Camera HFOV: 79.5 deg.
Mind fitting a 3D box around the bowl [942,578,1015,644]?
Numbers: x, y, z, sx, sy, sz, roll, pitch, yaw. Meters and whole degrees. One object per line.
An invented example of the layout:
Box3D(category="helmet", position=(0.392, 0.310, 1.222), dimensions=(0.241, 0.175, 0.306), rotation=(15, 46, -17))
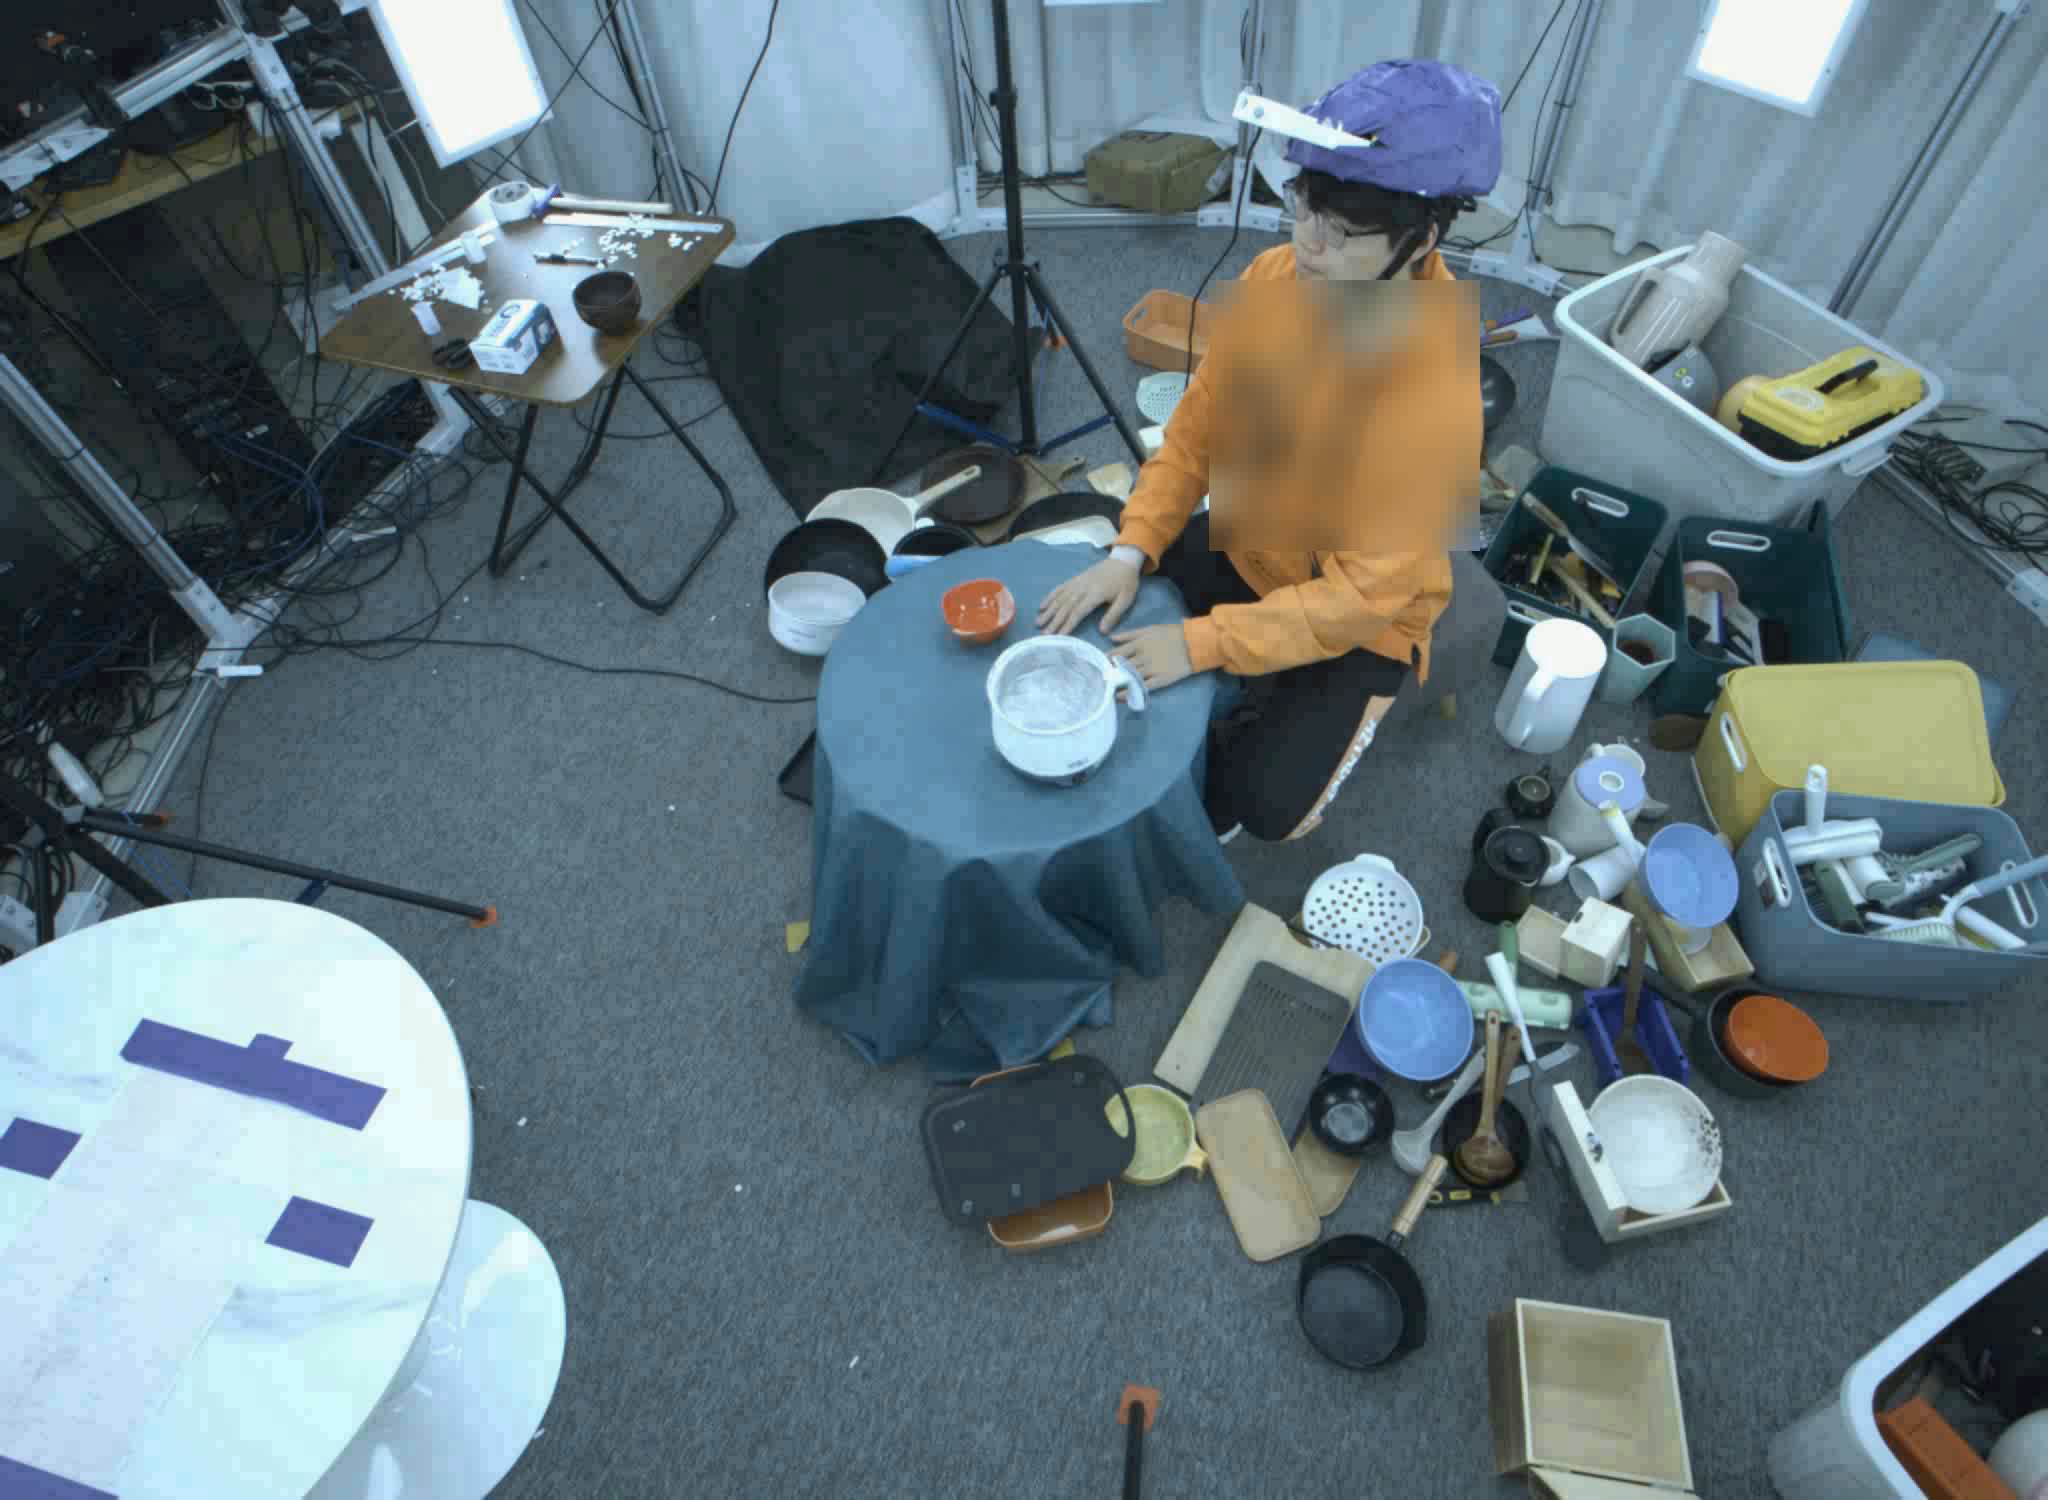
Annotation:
Box3D(category="bowl", position=(-0.069, -0.208, 1.905), dimensions=(0.118, 0.052, 0.117), rotation=(-2, 54, 4))

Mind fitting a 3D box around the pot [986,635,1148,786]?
Box3D(category="pot", position=(0.066, -0.064, 1.745), dimensions=(0.235, 0.138, 0.175), rotation=(-22, 57, -12))
